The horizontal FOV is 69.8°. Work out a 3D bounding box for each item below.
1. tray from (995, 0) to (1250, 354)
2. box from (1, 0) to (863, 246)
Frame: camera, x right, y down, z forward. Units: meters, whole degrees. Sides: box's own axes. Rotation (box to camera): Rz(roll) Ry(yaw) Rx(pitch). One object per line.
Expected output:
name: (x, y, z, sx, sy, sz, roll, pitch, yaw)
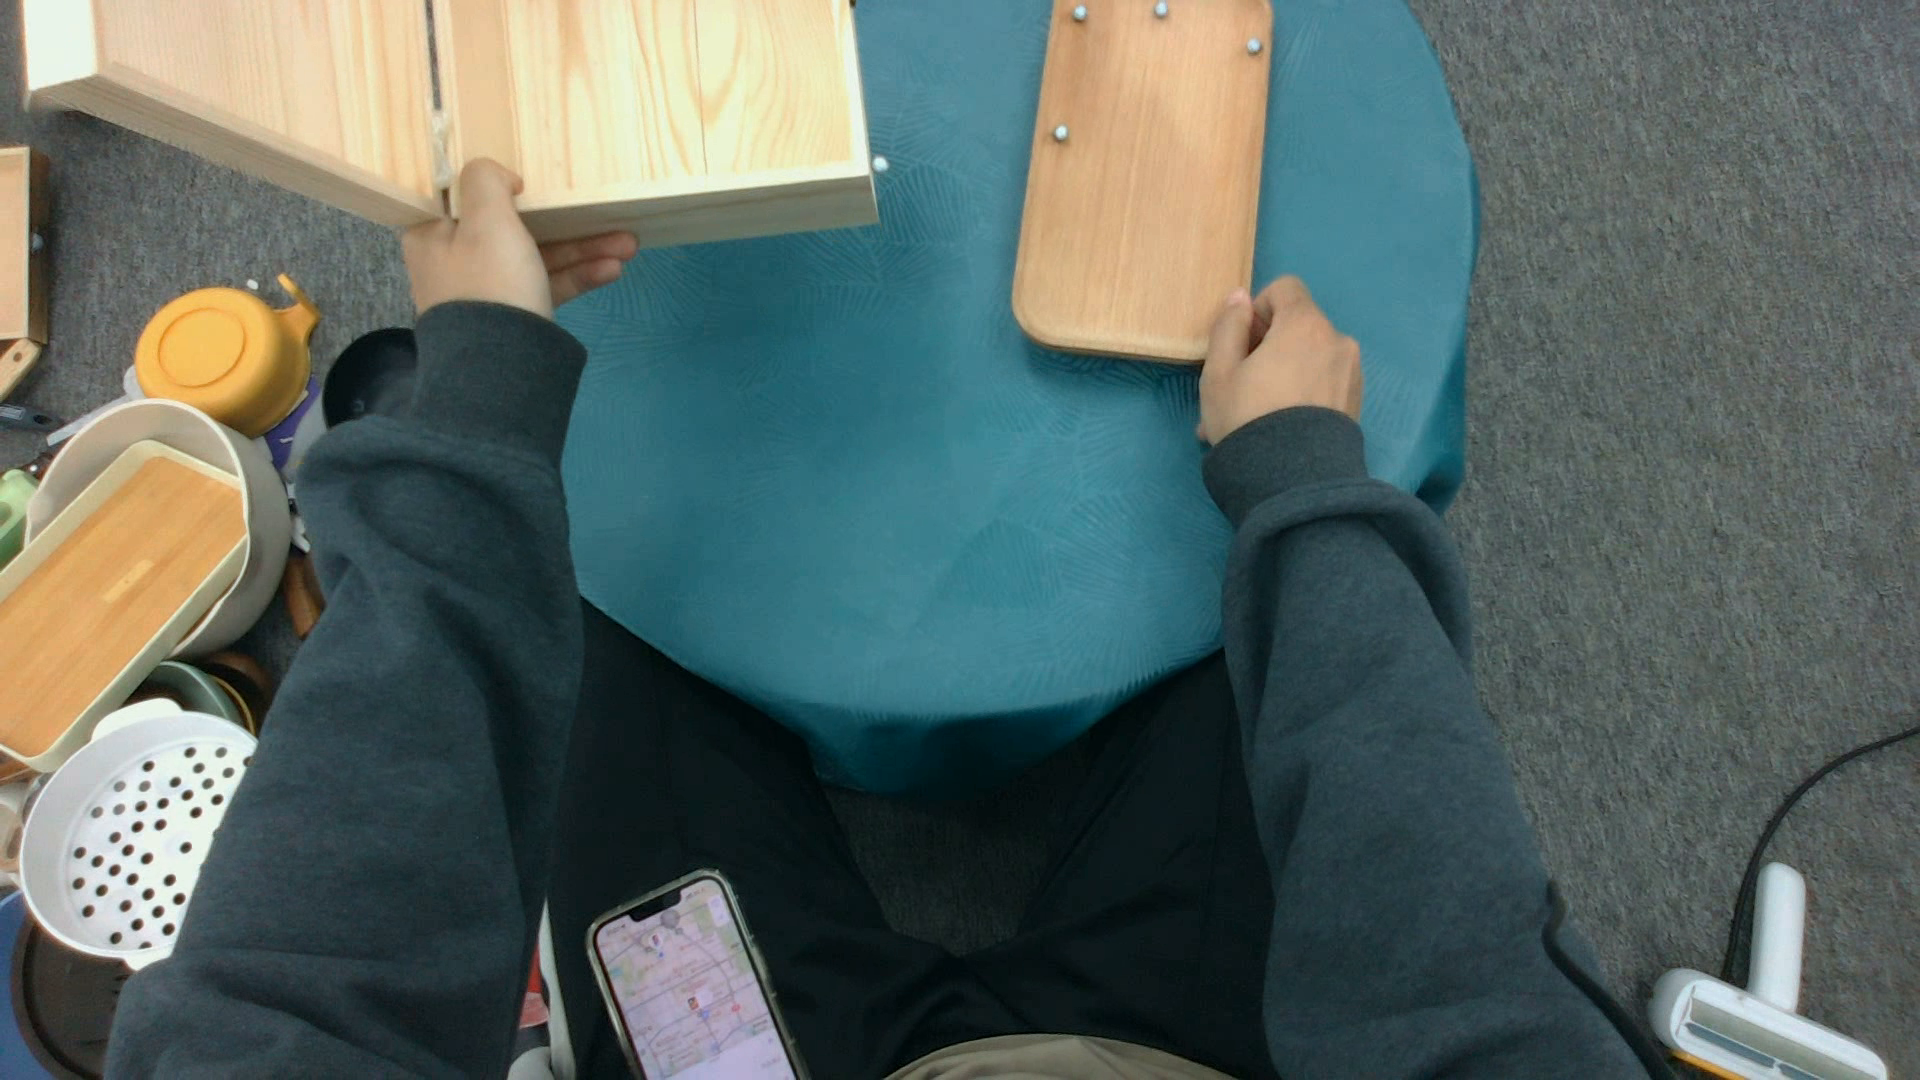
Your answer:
tray: (0.094, -0.217, 0.771, 0.130, 0.023, 0.251, 5, 70, 6)
box: (-0.180, -0.238, 0.547, 0.265, 0.253, 0.182, -7, 90, -1)
